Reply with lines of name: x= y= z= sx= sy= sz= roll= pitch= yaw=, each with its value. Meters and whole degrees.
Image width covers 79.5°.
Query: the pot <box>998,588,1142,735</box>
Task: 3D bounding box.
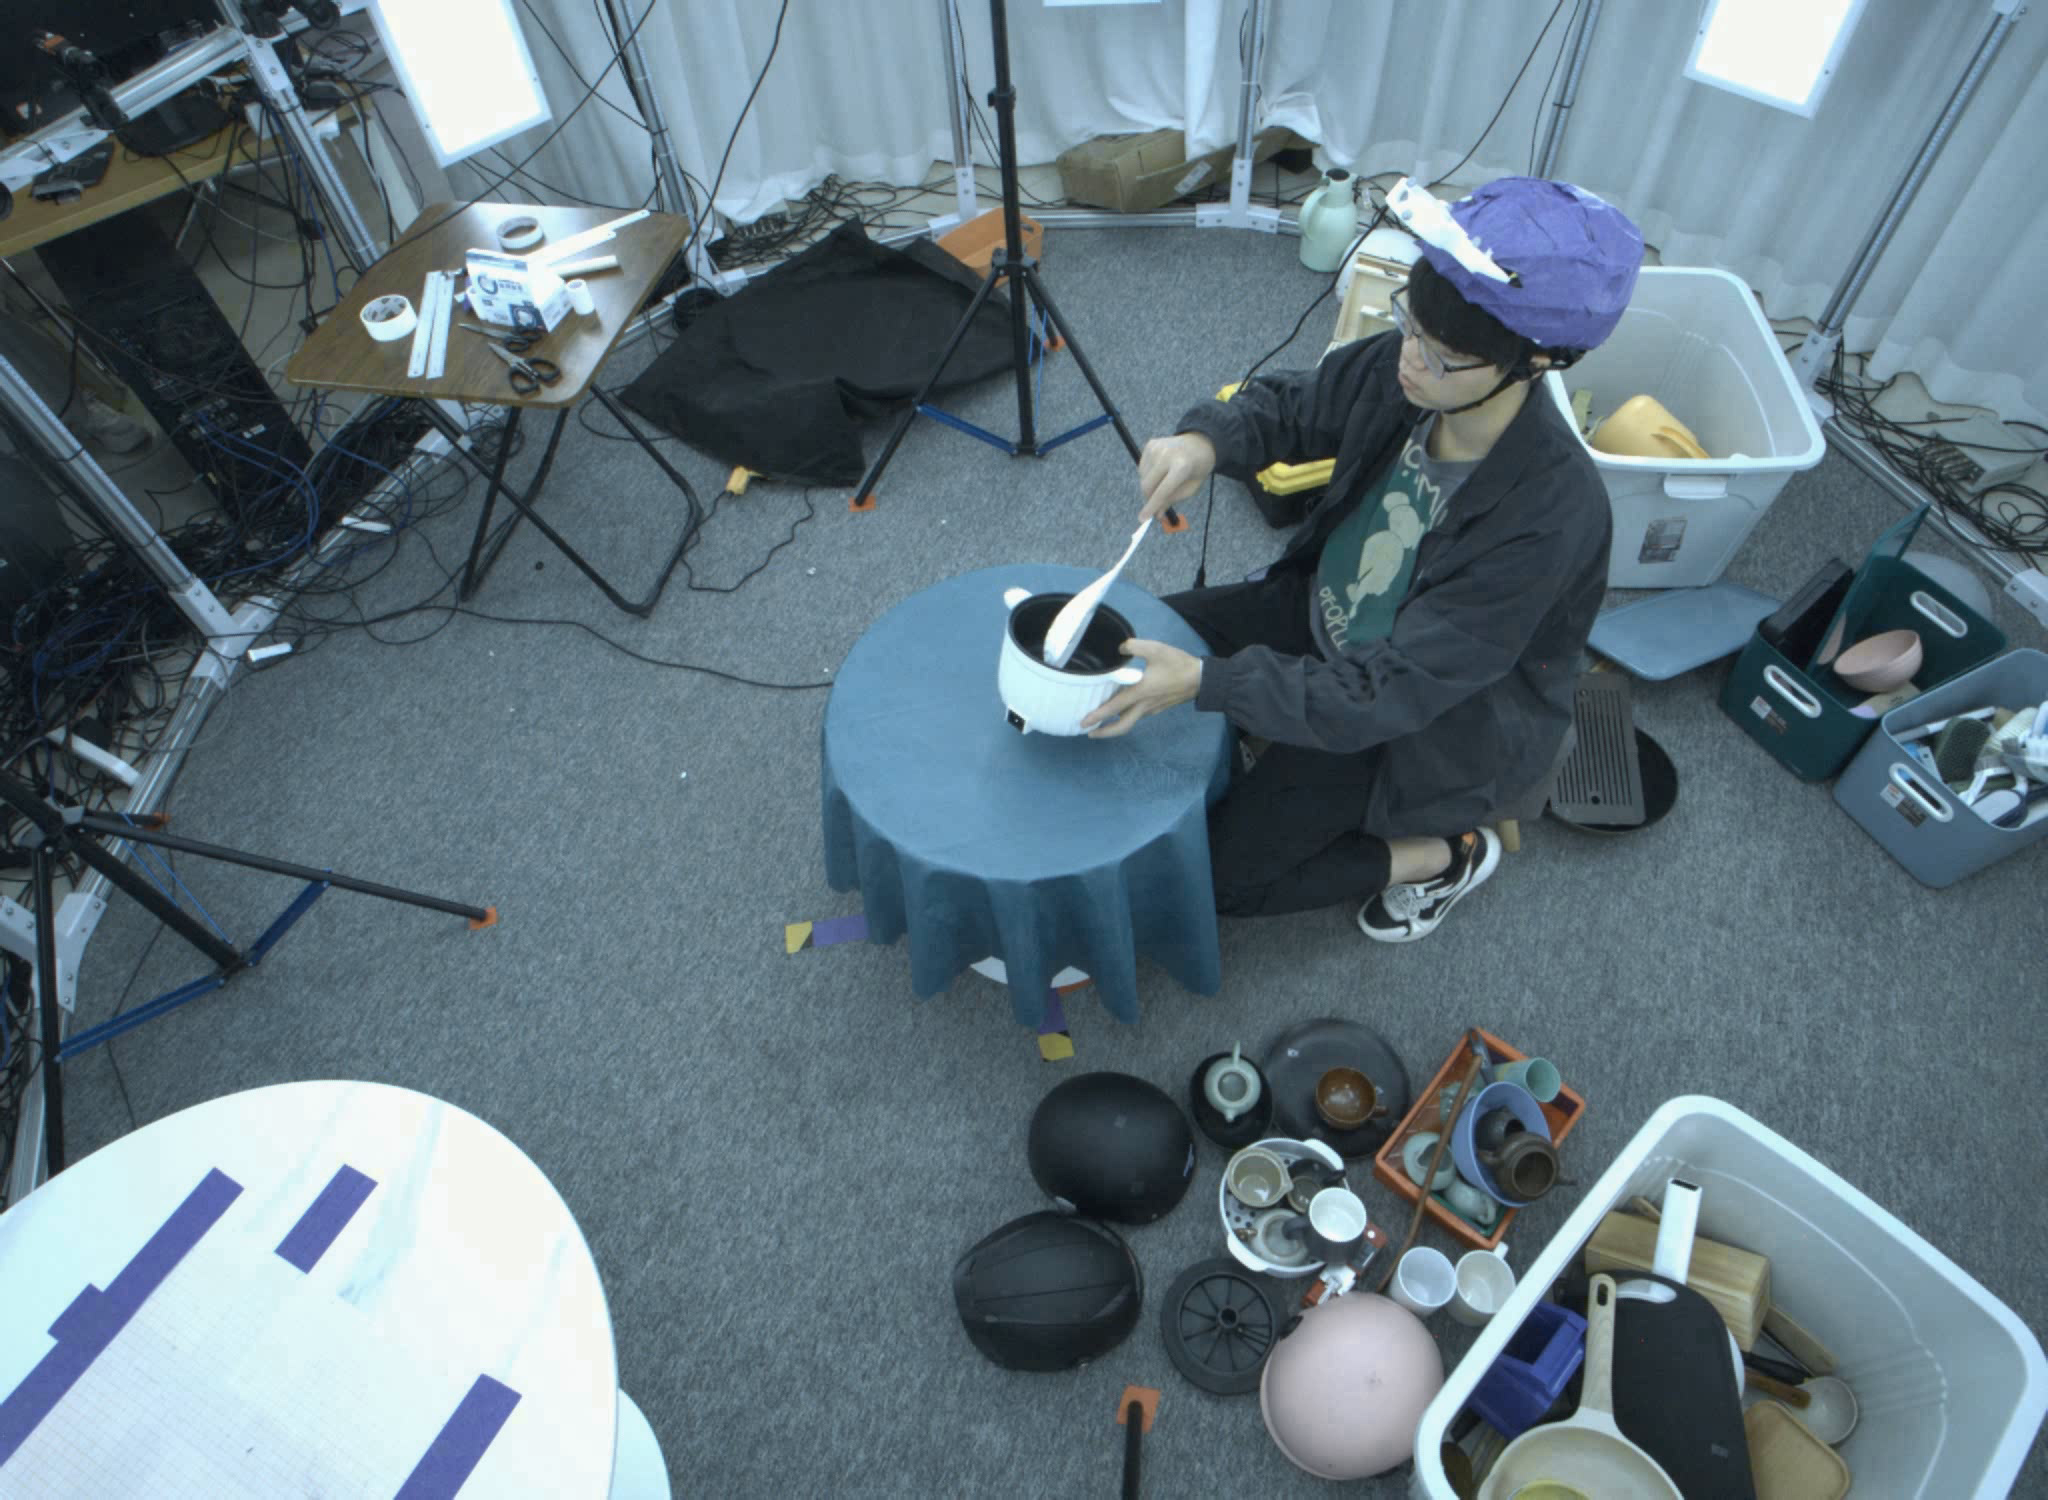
pot: x=0.056 y=-0.118 z=1.715 sx=0.236 sy=0.143 sz=0.192 roll=37 pitch=51 yaw=22

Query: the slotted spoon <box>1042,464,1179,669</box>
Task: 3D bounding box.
slotted spoon: x=0.123 y=-0.251 z=1.687 sx=0.050 sy=0.137 sz=0.348 roll=38 pitch=82 yaw=8
